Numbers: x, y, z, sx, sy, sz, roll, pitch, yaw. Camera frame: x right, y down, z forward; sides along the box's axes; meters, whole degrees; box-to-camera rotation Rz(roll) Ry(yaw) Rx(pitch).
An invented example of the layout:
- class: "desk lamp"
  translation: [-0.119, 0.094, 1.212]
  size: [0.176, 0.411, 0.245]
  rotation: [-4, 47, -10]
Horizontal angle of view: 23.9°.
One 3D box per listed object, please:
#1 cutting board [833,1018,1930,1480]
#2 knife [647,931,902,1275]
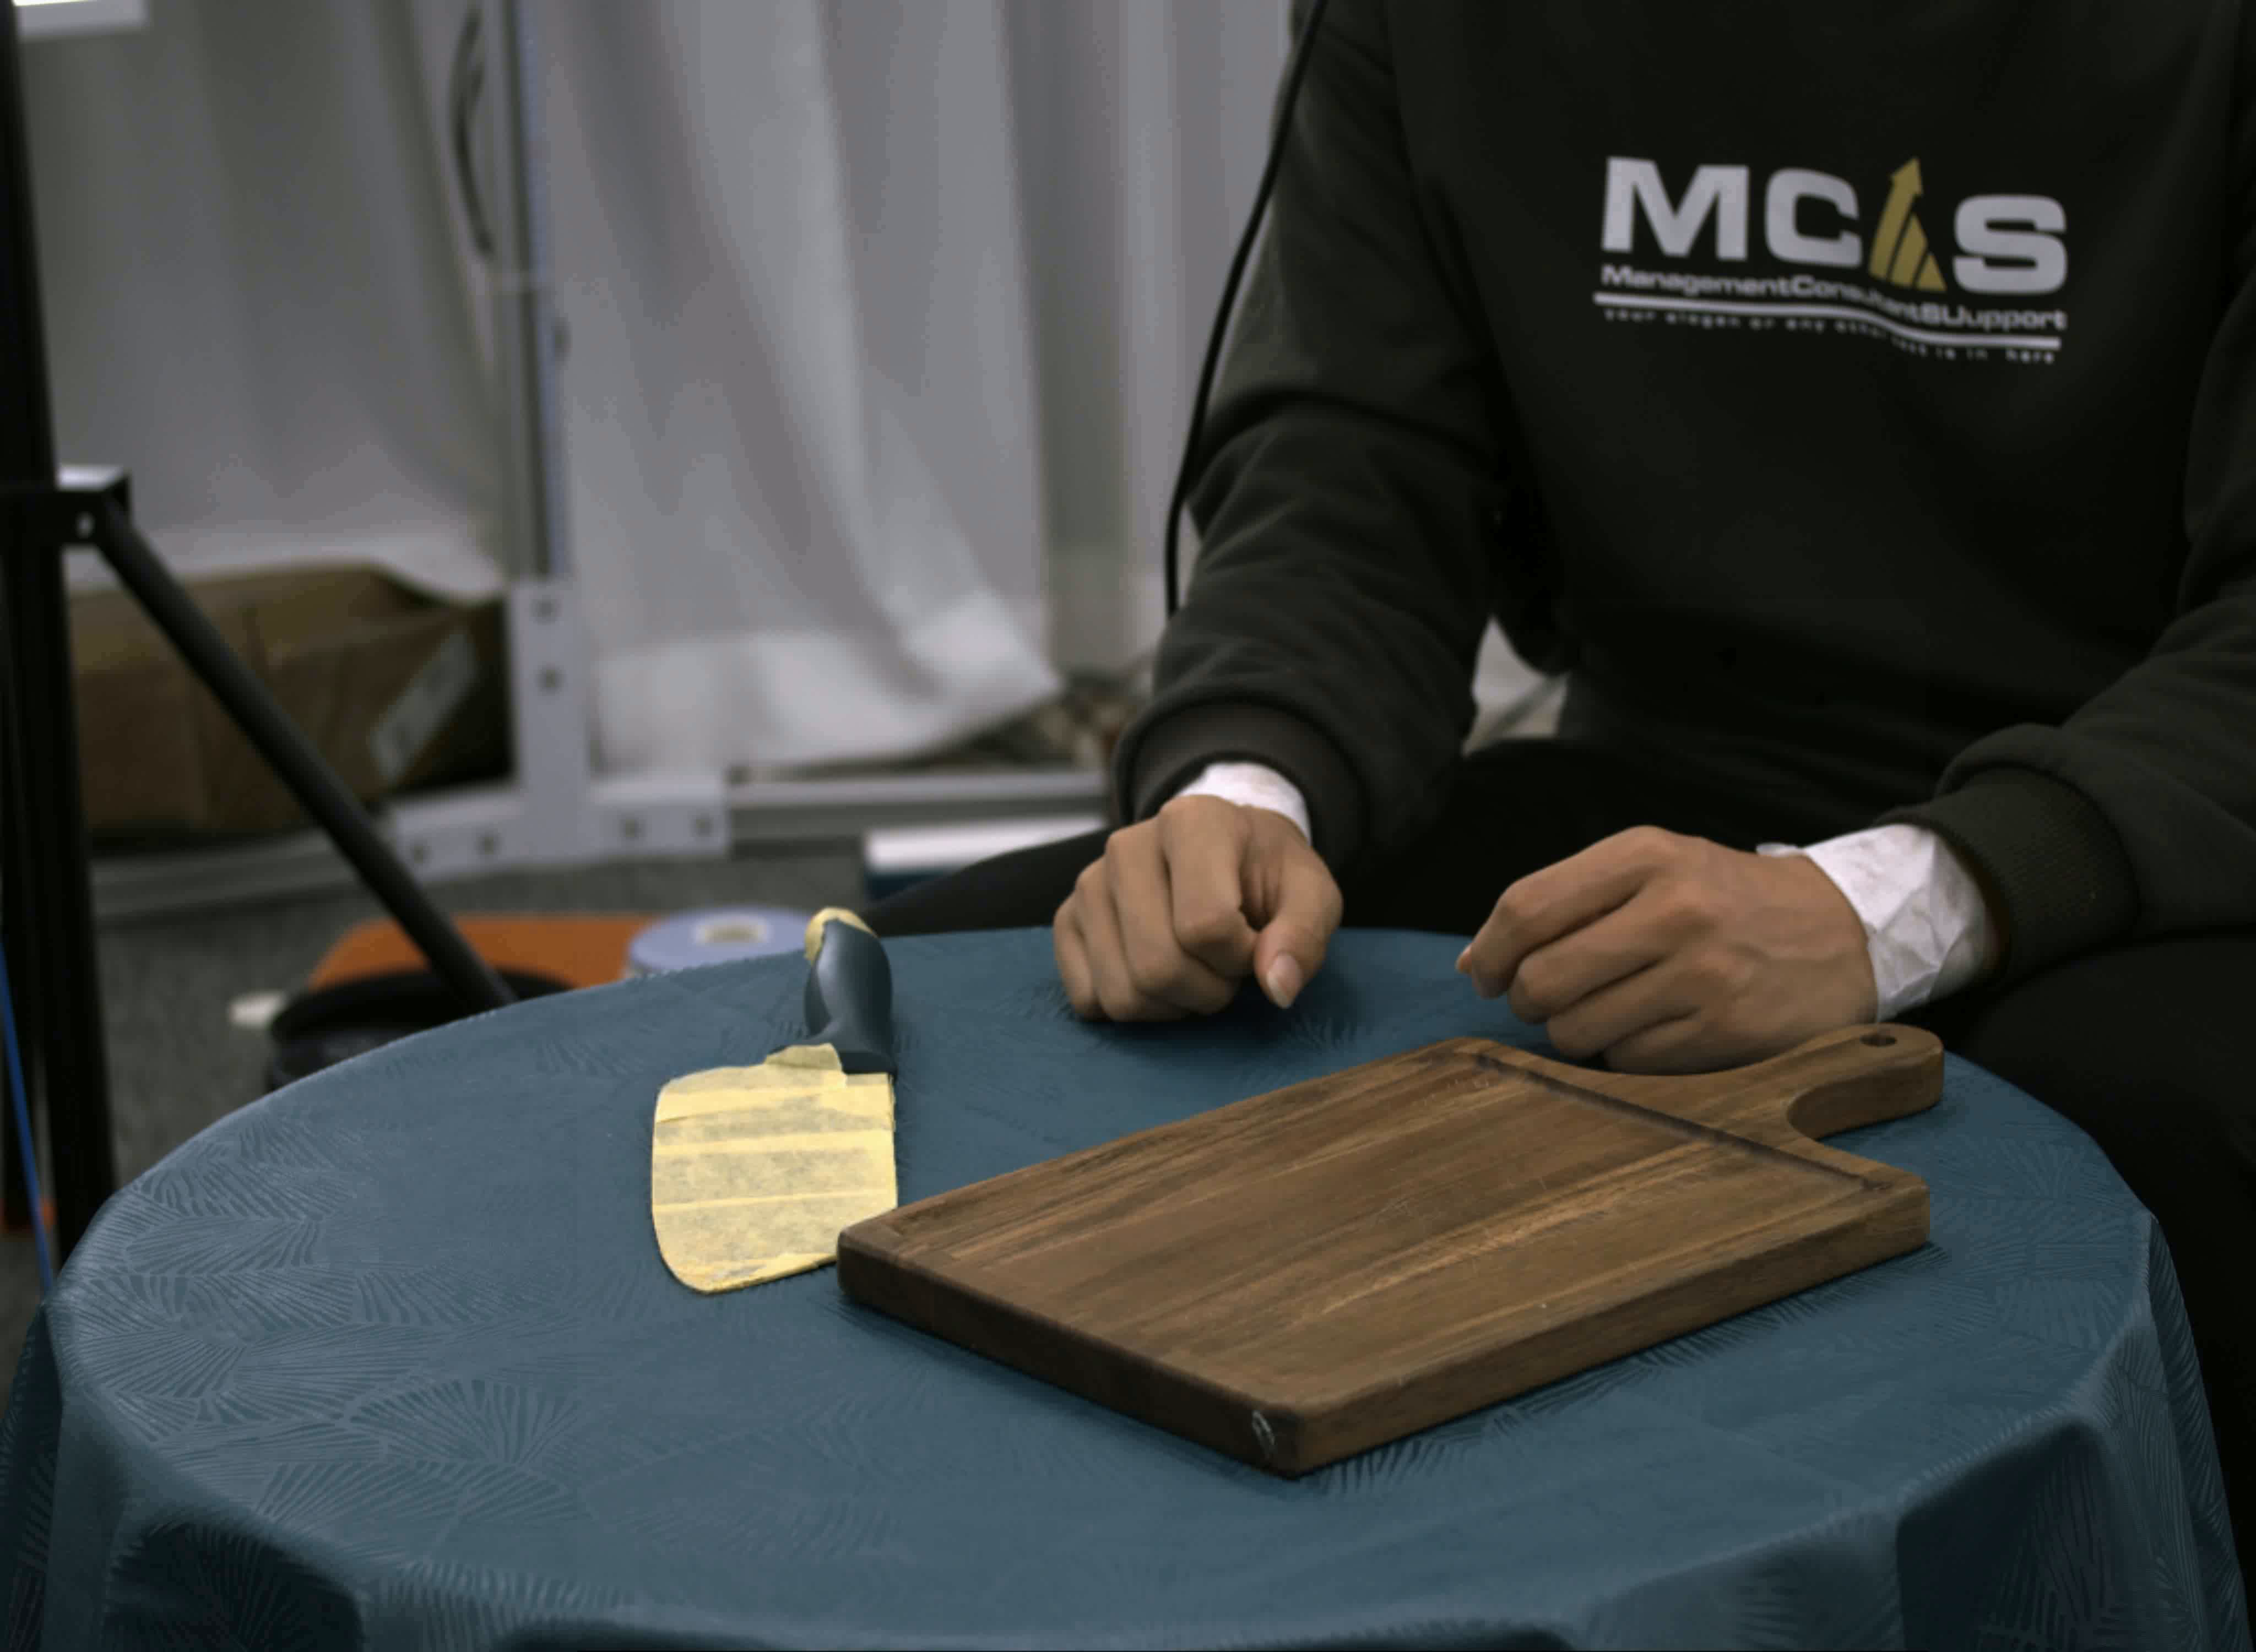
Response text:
- class: "cutting board"
  translation: [0.109, 0.105, 1.515]
  size: [0.344, 0.023, 0.206]
  rotation: [-15, 20, -38]
- class: "knife"
  translation: [-0.107, 0.085, 1.635]
  size: [0.080, 0.027, 0.291]
  rotation: [-1, 17, 0]
